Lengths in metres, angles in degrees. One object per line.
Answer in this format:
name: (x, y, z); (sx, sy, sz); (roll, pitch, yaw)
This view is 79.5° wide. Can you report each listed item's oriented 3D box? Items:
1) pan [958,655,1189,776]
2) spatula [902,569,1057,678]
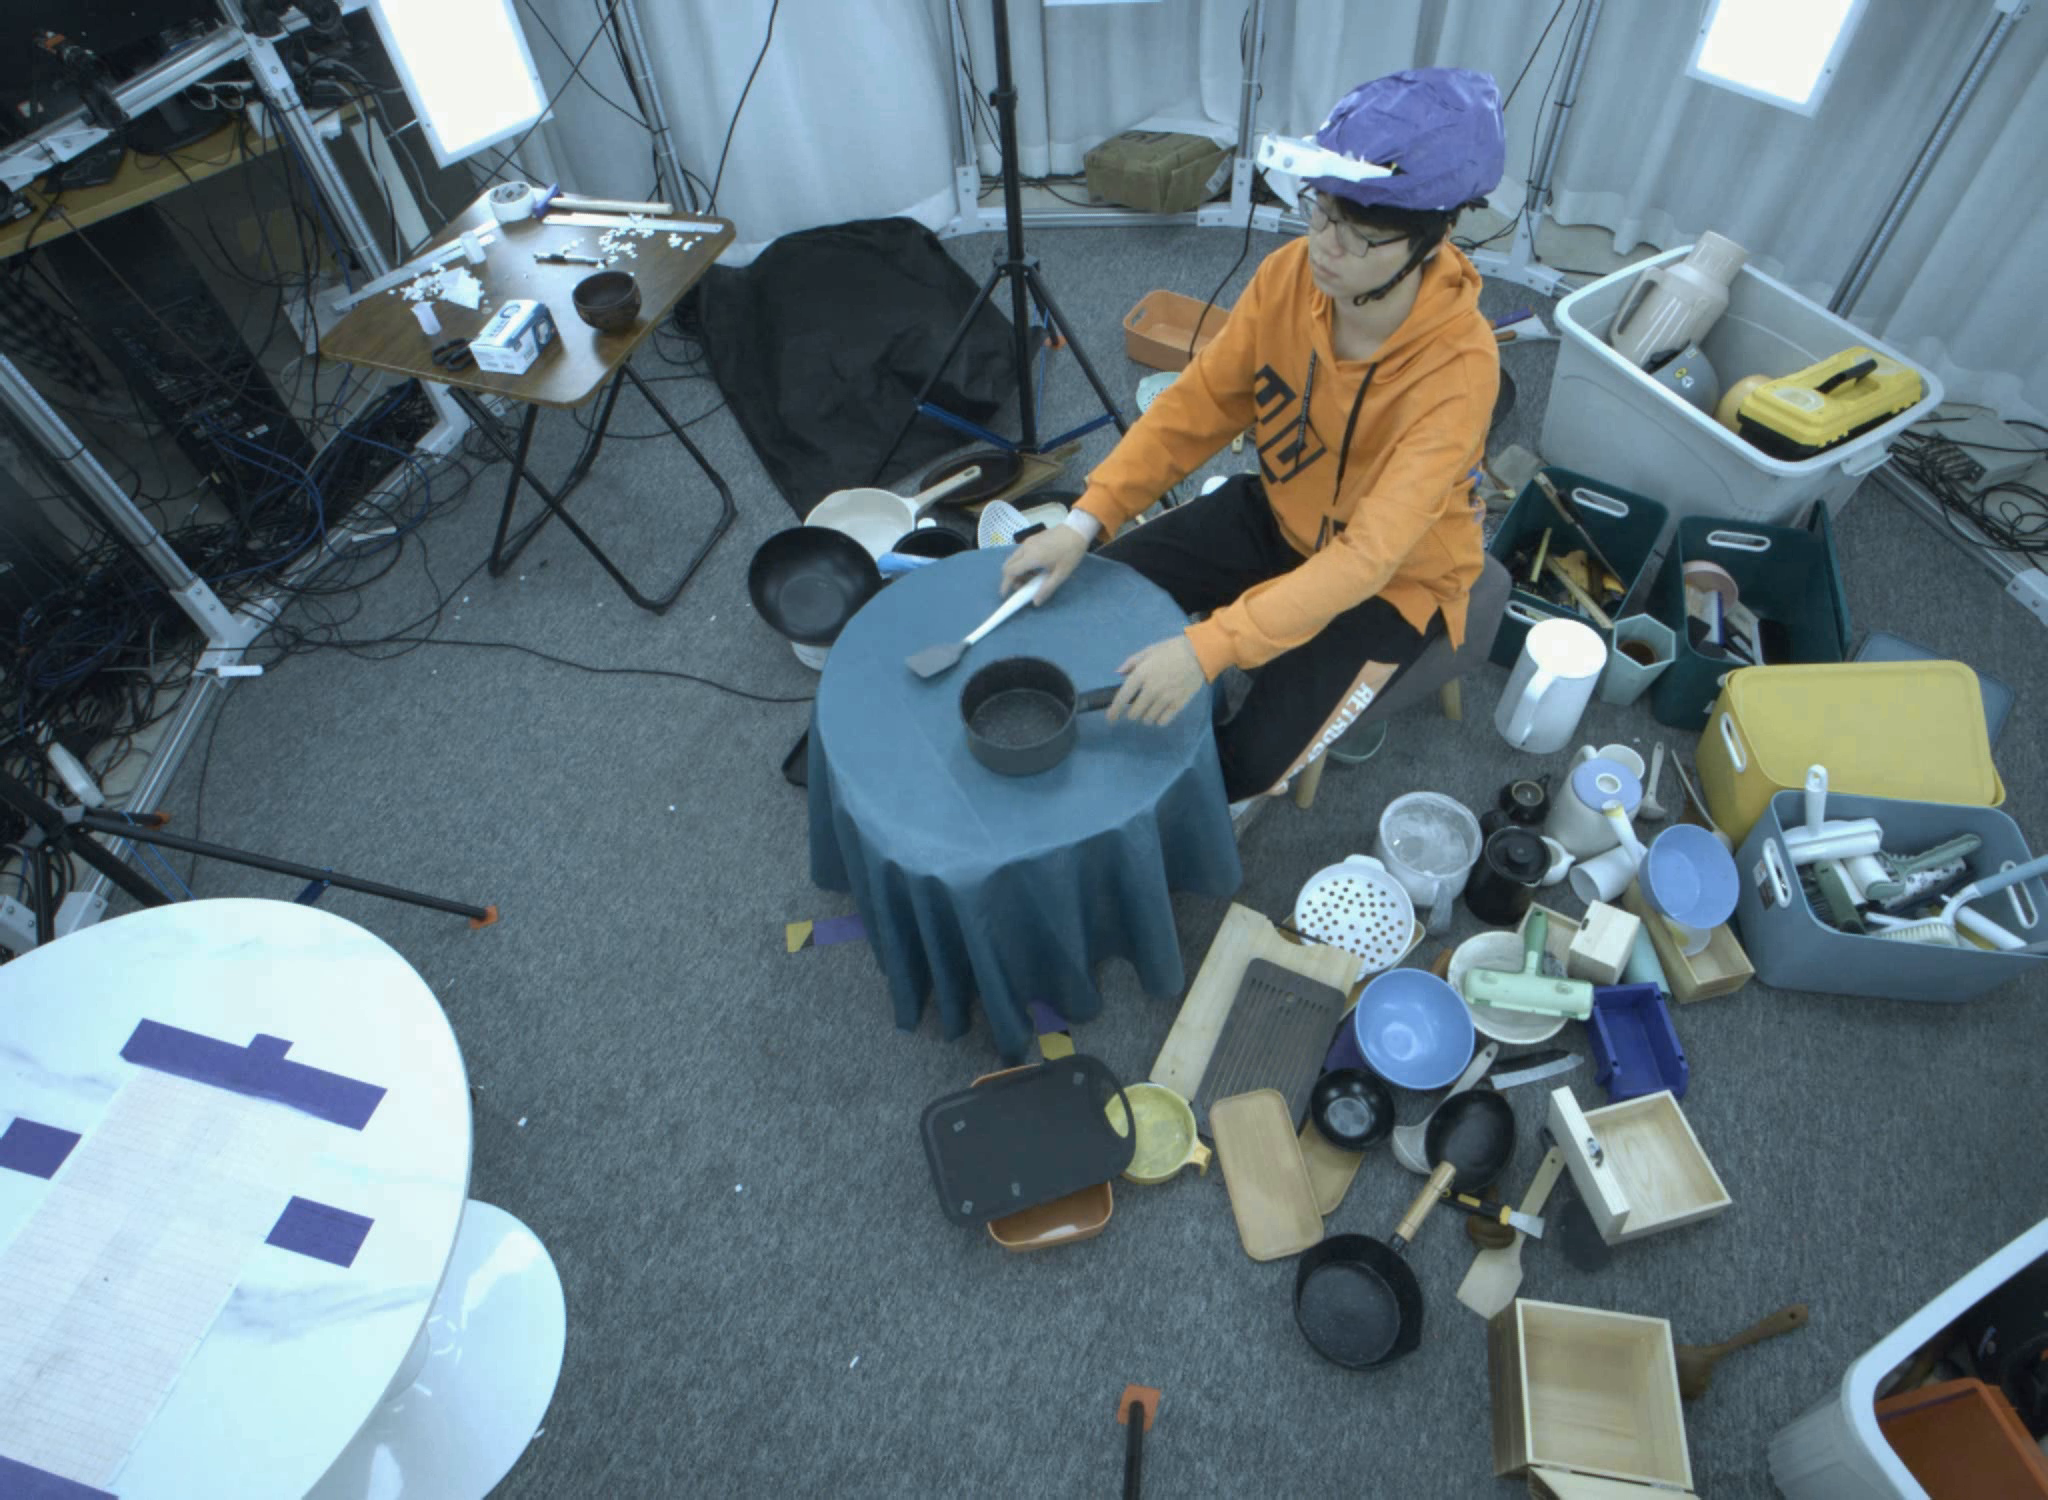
pan: (0.073, -0.058, 1.772); (0.329, 0.087, 0.170); (-6, 55, 1)
spatula: (-0.064, -0.195, 1.908); (0.290, 0.032, 0.057); (-37, 64, -22)
